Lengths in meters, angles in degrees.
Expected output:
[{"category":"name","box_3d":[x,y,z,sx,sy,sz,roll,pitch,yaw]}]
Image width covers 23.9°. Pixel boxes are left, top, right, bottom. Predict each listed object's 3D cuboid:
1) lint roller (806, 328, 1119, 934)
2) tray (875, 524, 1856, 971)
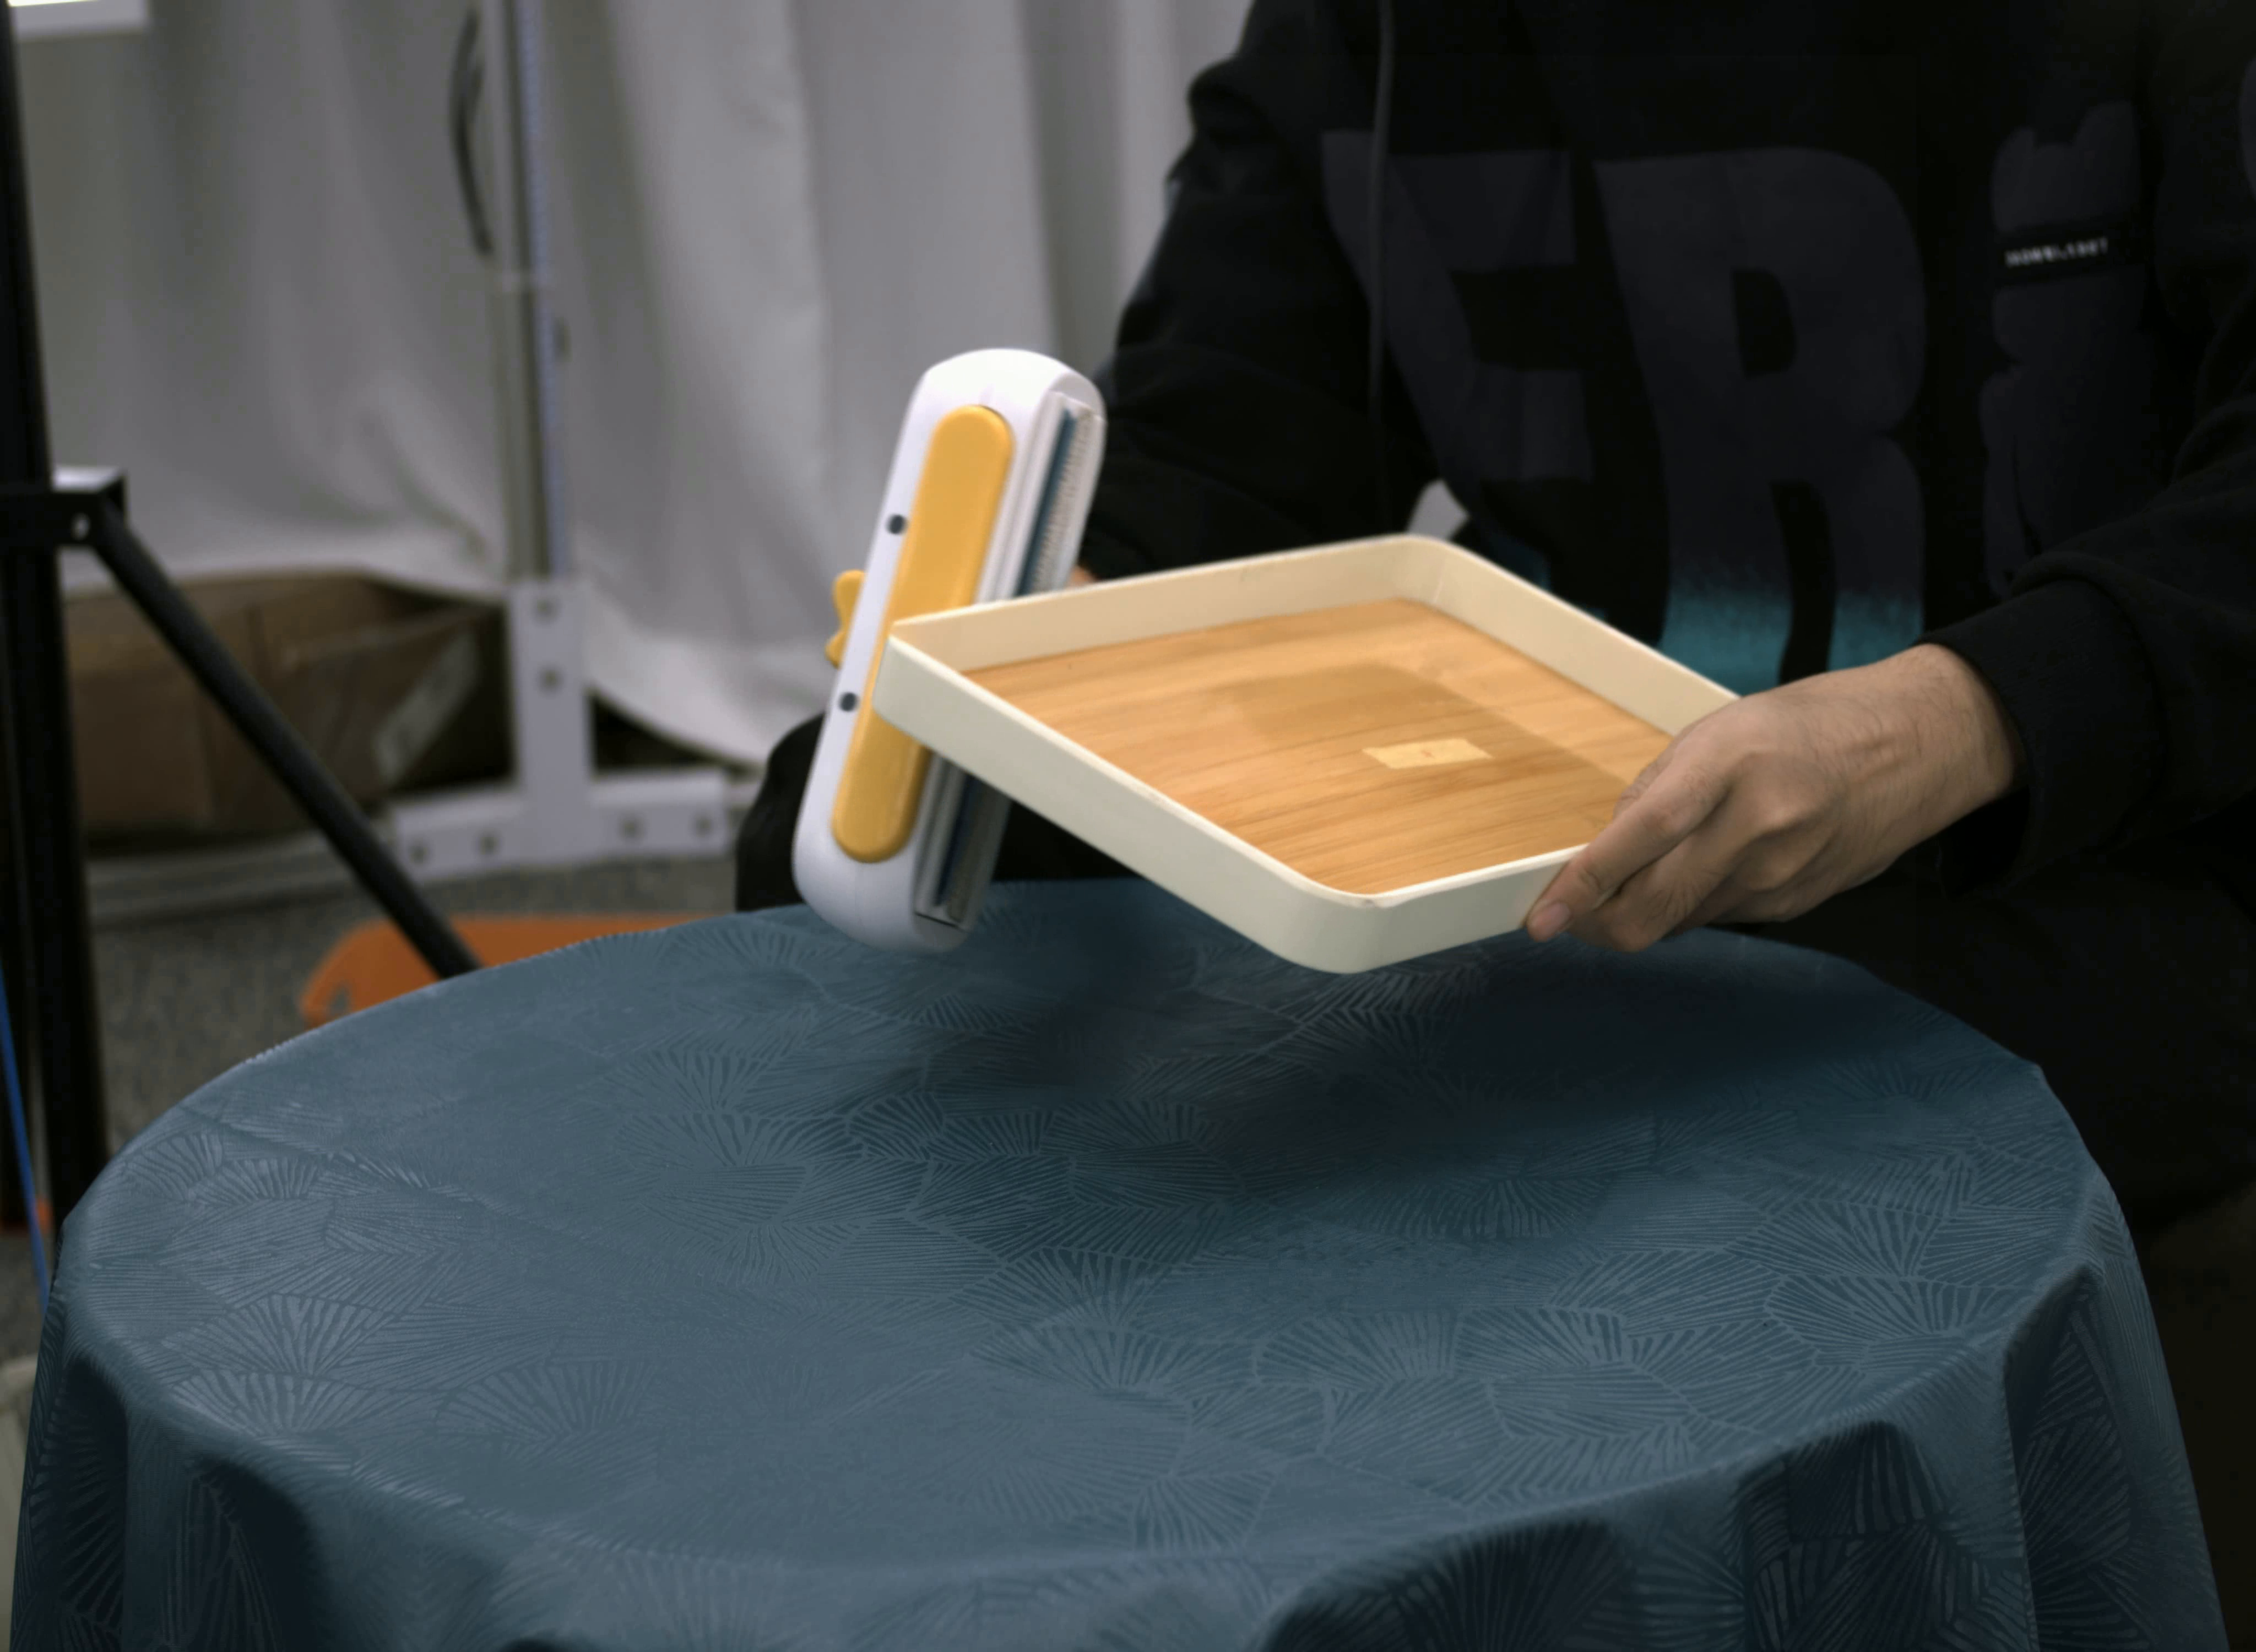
[{"category":"lint roller","box_3d":[-0.047,-0.052,1.731,0.075,0.194,0.190,10,-9,13]},{"category":"tray","box_3d":[0.079,-0.029,1.644,0.195,0.027,0.293,31,25,31]}]
